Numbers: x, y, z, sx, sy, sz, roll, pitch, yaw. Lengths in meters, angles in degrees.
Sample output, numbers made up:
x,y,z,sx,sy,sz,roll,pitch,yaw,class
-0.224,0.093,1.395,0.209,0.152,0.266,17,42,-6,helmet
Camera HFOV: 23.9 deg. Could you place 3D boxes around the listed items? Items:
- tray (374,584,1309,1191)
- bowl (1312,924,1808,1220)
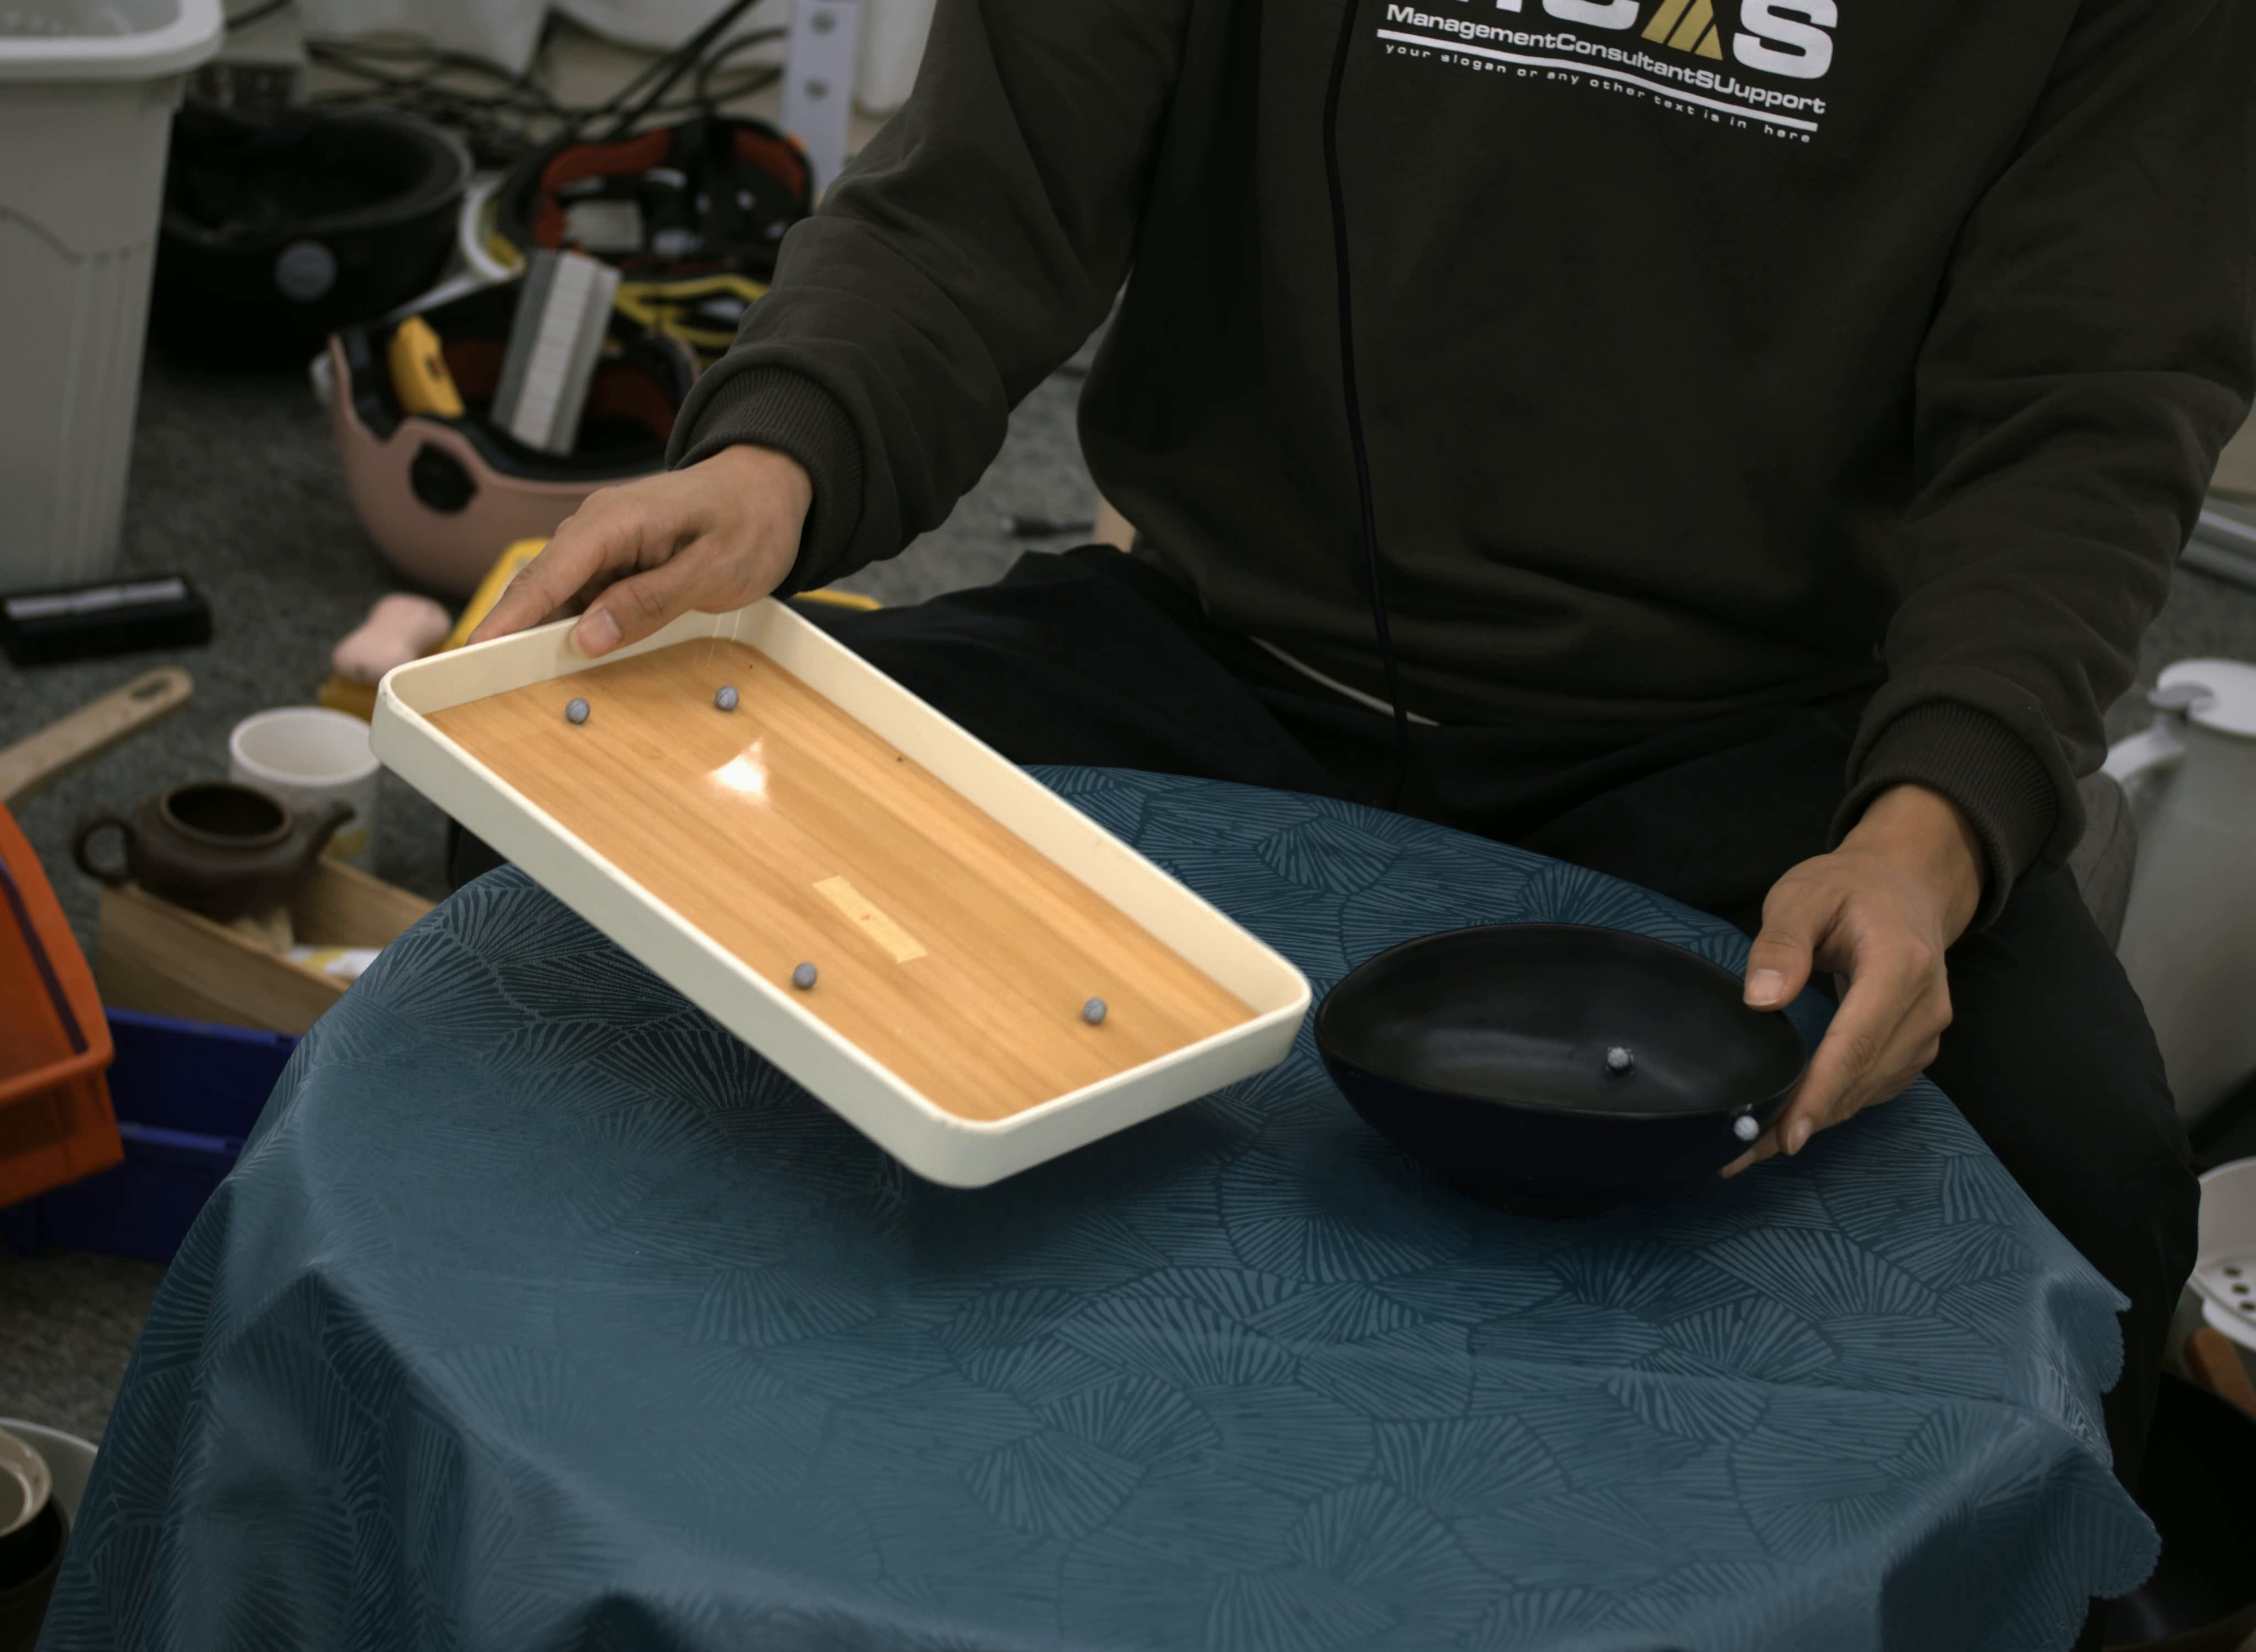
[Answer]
x,y,z,sx,sy,sz,roll,pitch,yaw,class
-0.100,0.015,1.841,0.302,0.027,0.190,36,34,29,tray
0.147,0.093,1.834,0.170,0.066,0.138,4,25,-2,bowl
